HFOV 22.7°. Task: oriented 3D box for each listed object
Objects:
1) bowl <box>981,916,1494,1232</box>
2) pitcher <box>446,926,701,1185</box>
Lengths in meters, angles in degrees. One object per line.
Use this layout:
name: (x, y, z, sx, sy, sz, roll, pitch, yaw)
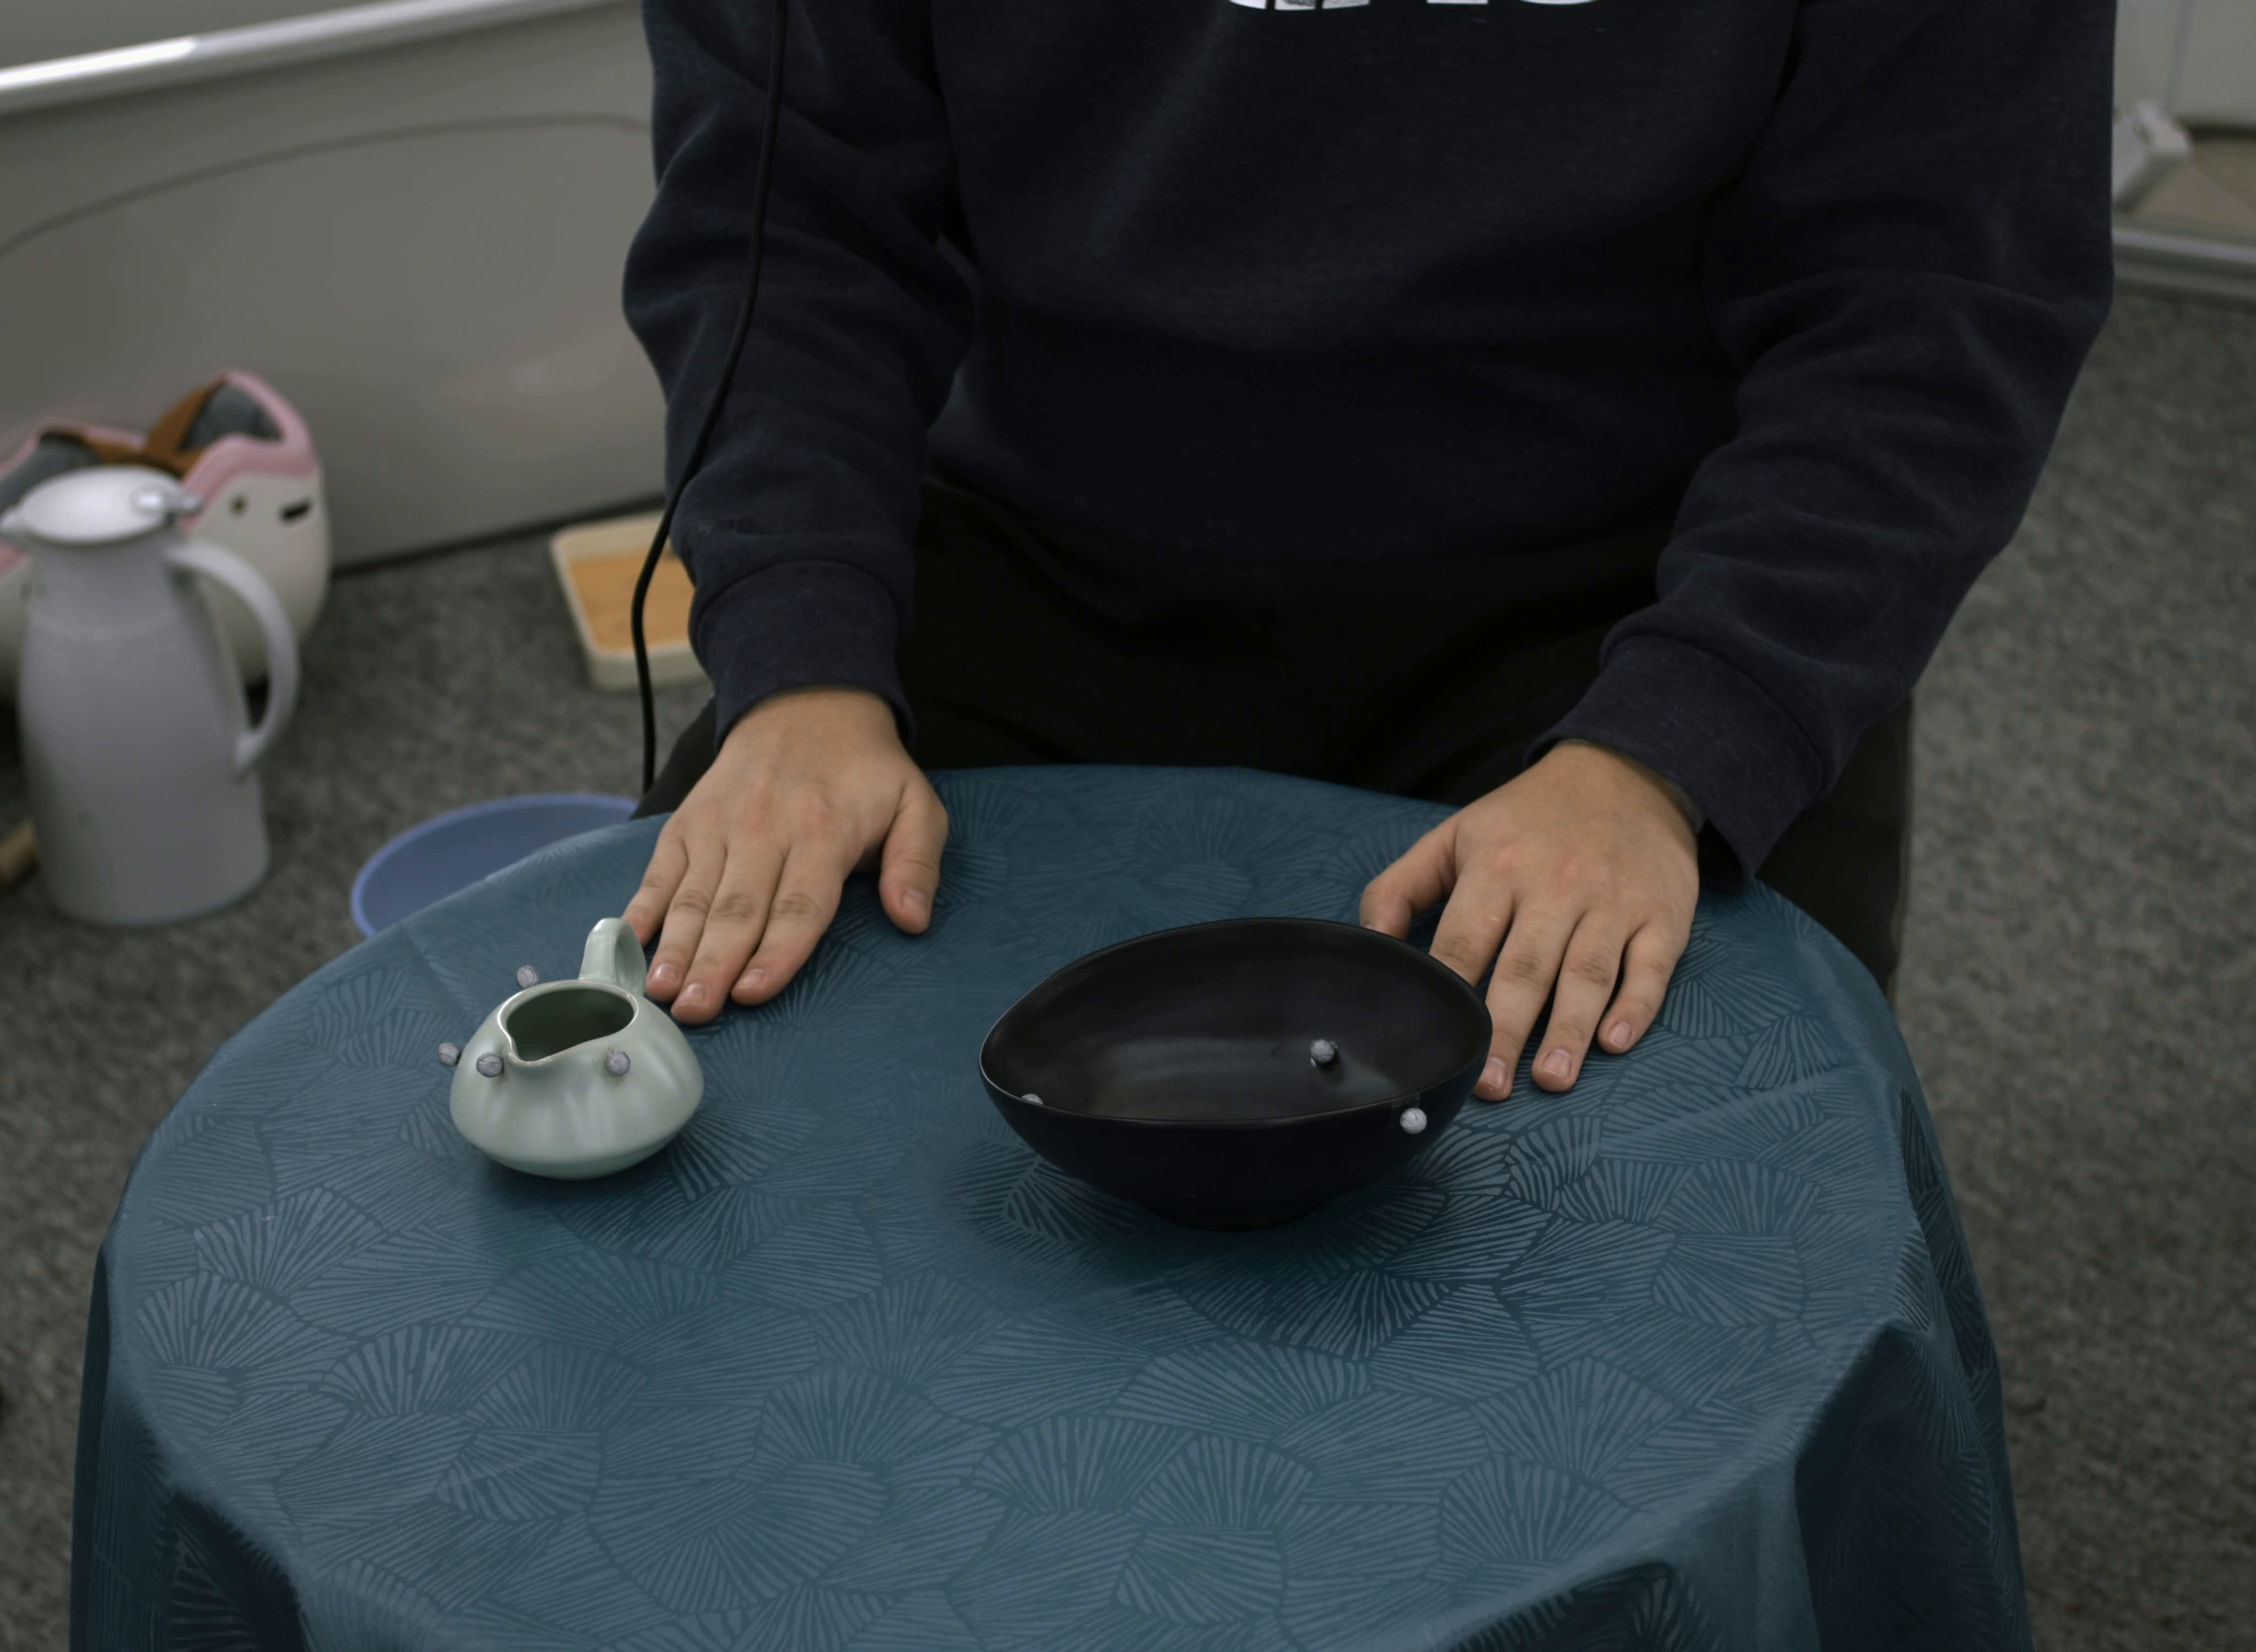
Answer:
bowl: (0.037, 0.091, 1.854, 0.169, 0.066, 0.139, -2, 26, 2)
pitcher: (-0.185, 0.079, 1.903, 0.085, 0.060, 0.110, 4, 26, 11)
